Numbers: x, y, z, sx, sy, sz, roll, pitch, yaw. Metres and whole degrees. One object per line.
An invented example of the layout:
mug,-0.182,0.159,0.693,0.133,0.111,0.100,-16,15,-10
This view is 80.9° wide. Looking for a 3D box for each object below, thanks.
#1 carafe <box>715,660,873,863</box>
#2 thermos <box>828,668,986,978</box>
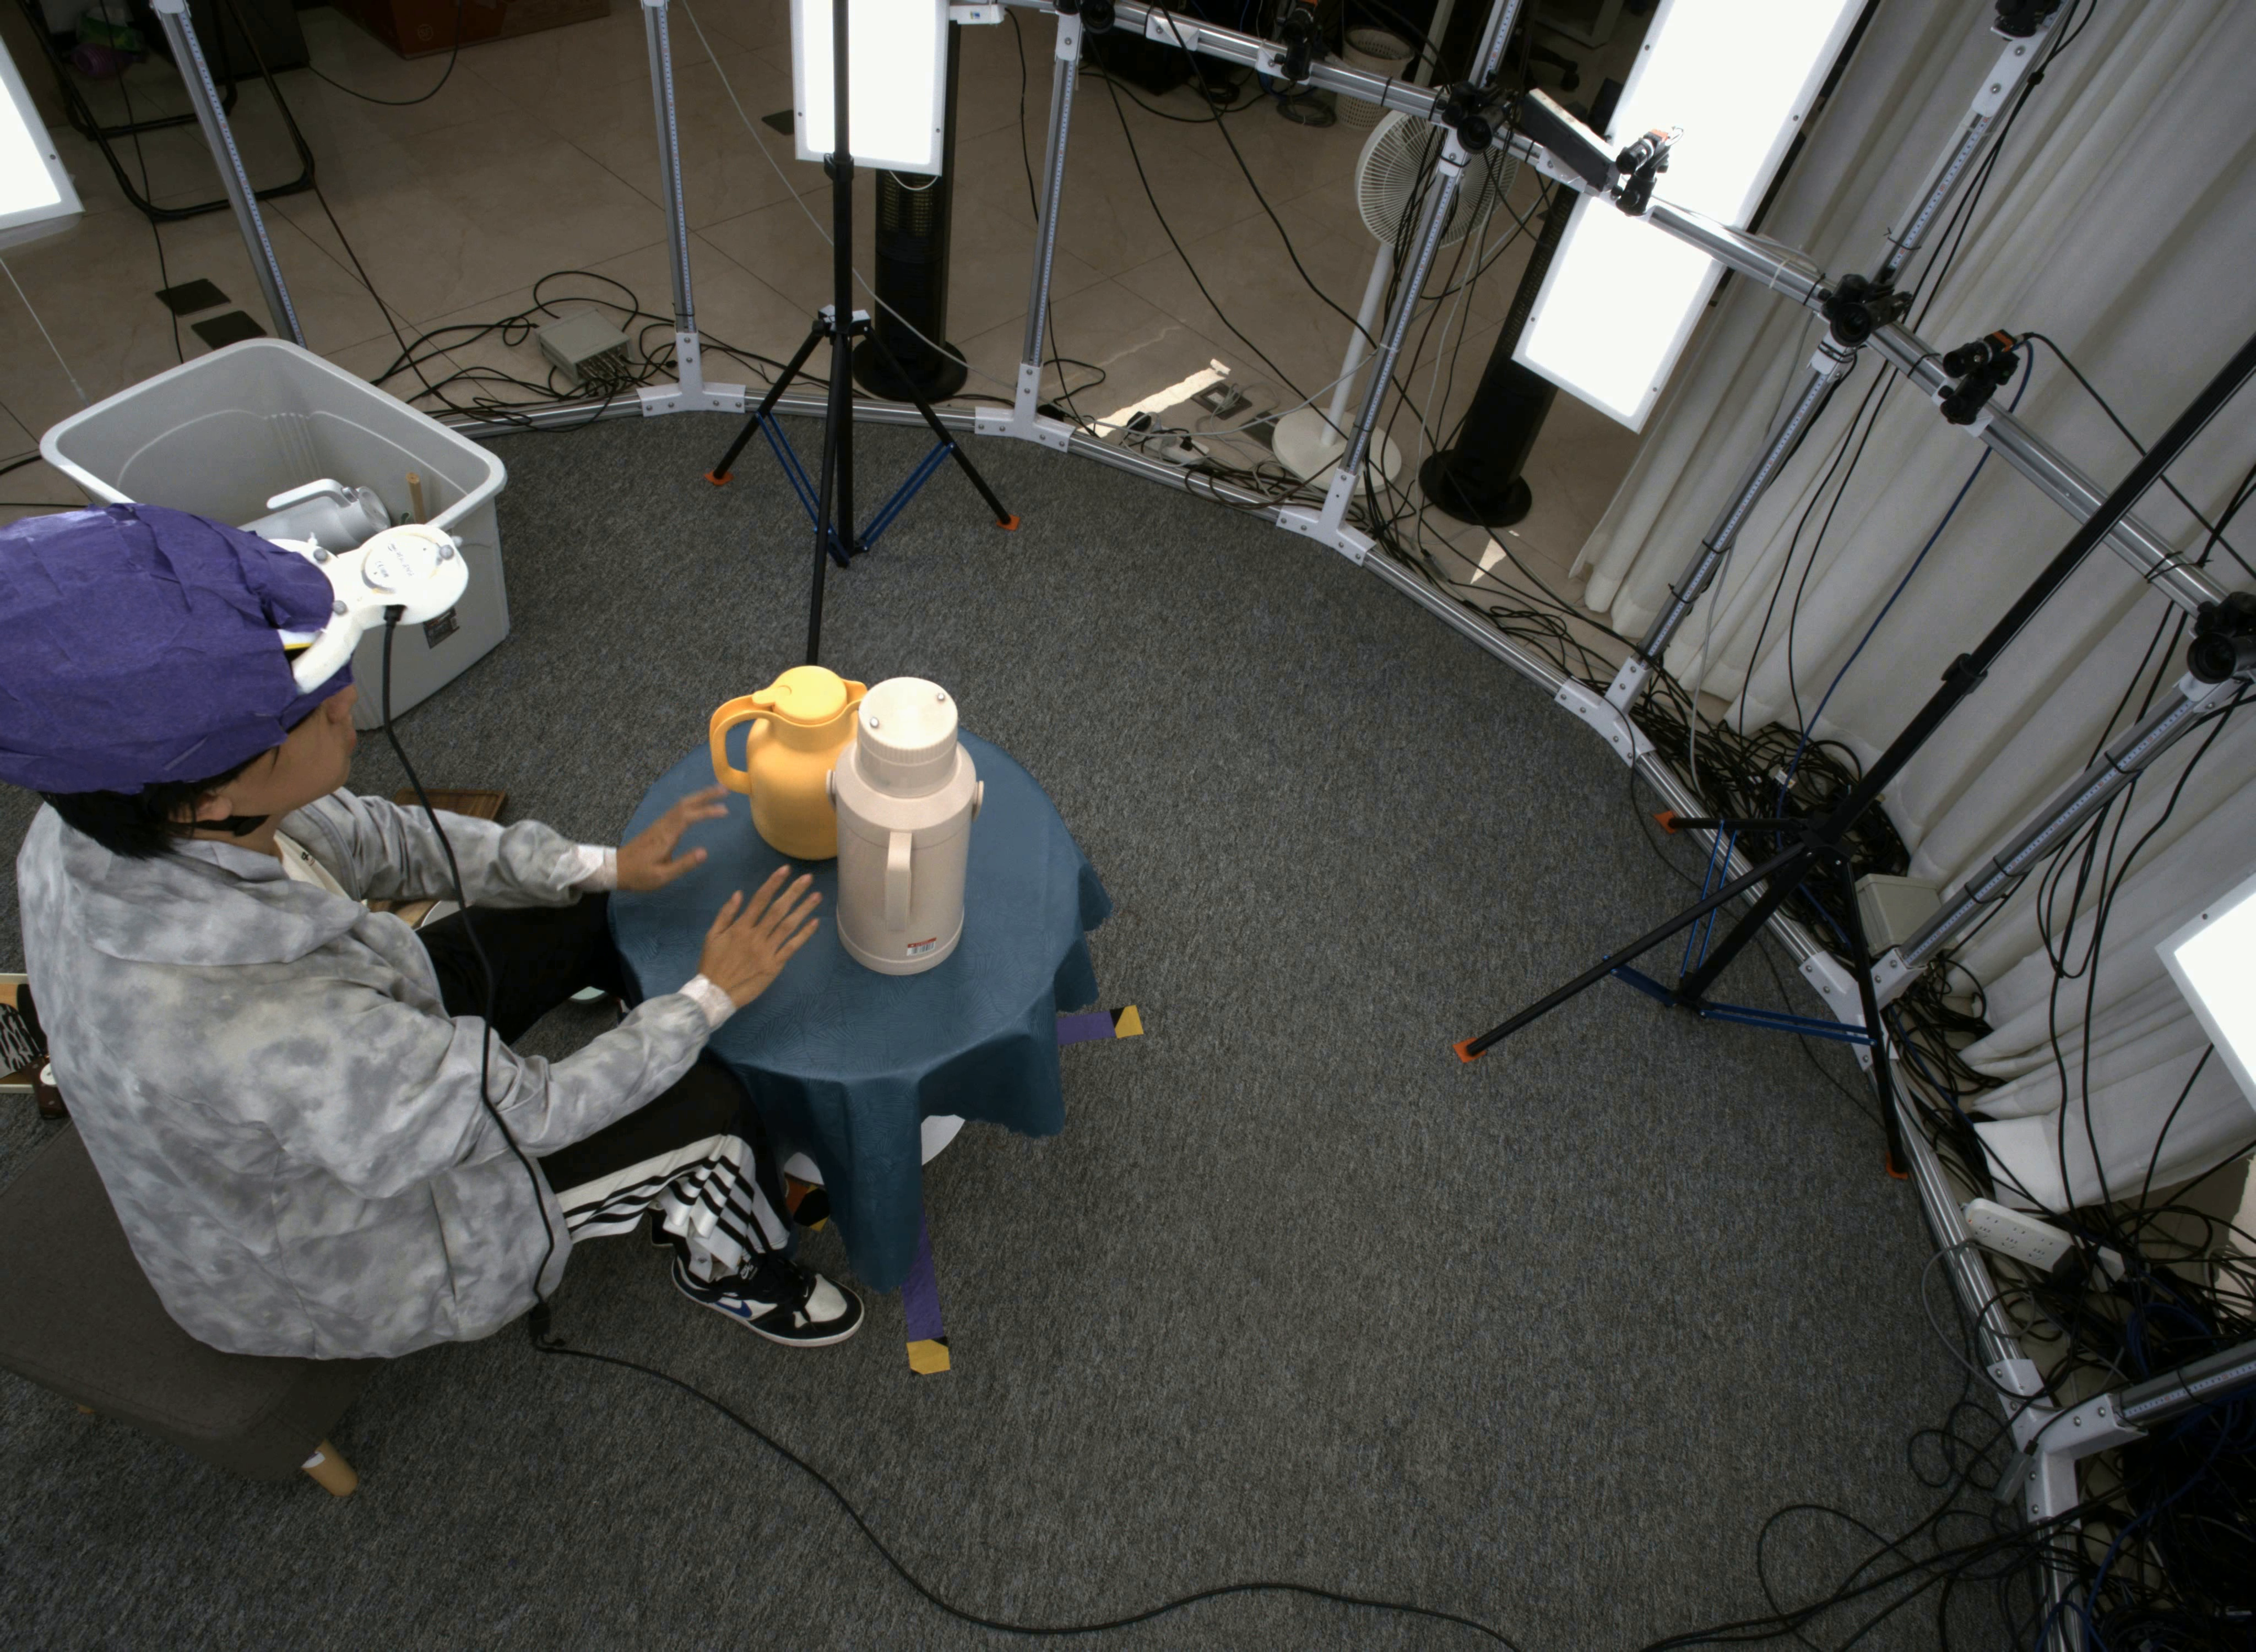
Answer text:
carafe,-0.410,-0.085,1.624,0.203,0.266,0.159,-6,52,-18
thermos,-0.258,0.012,1.502,0.175,0.415,0.203,4,51,-9
